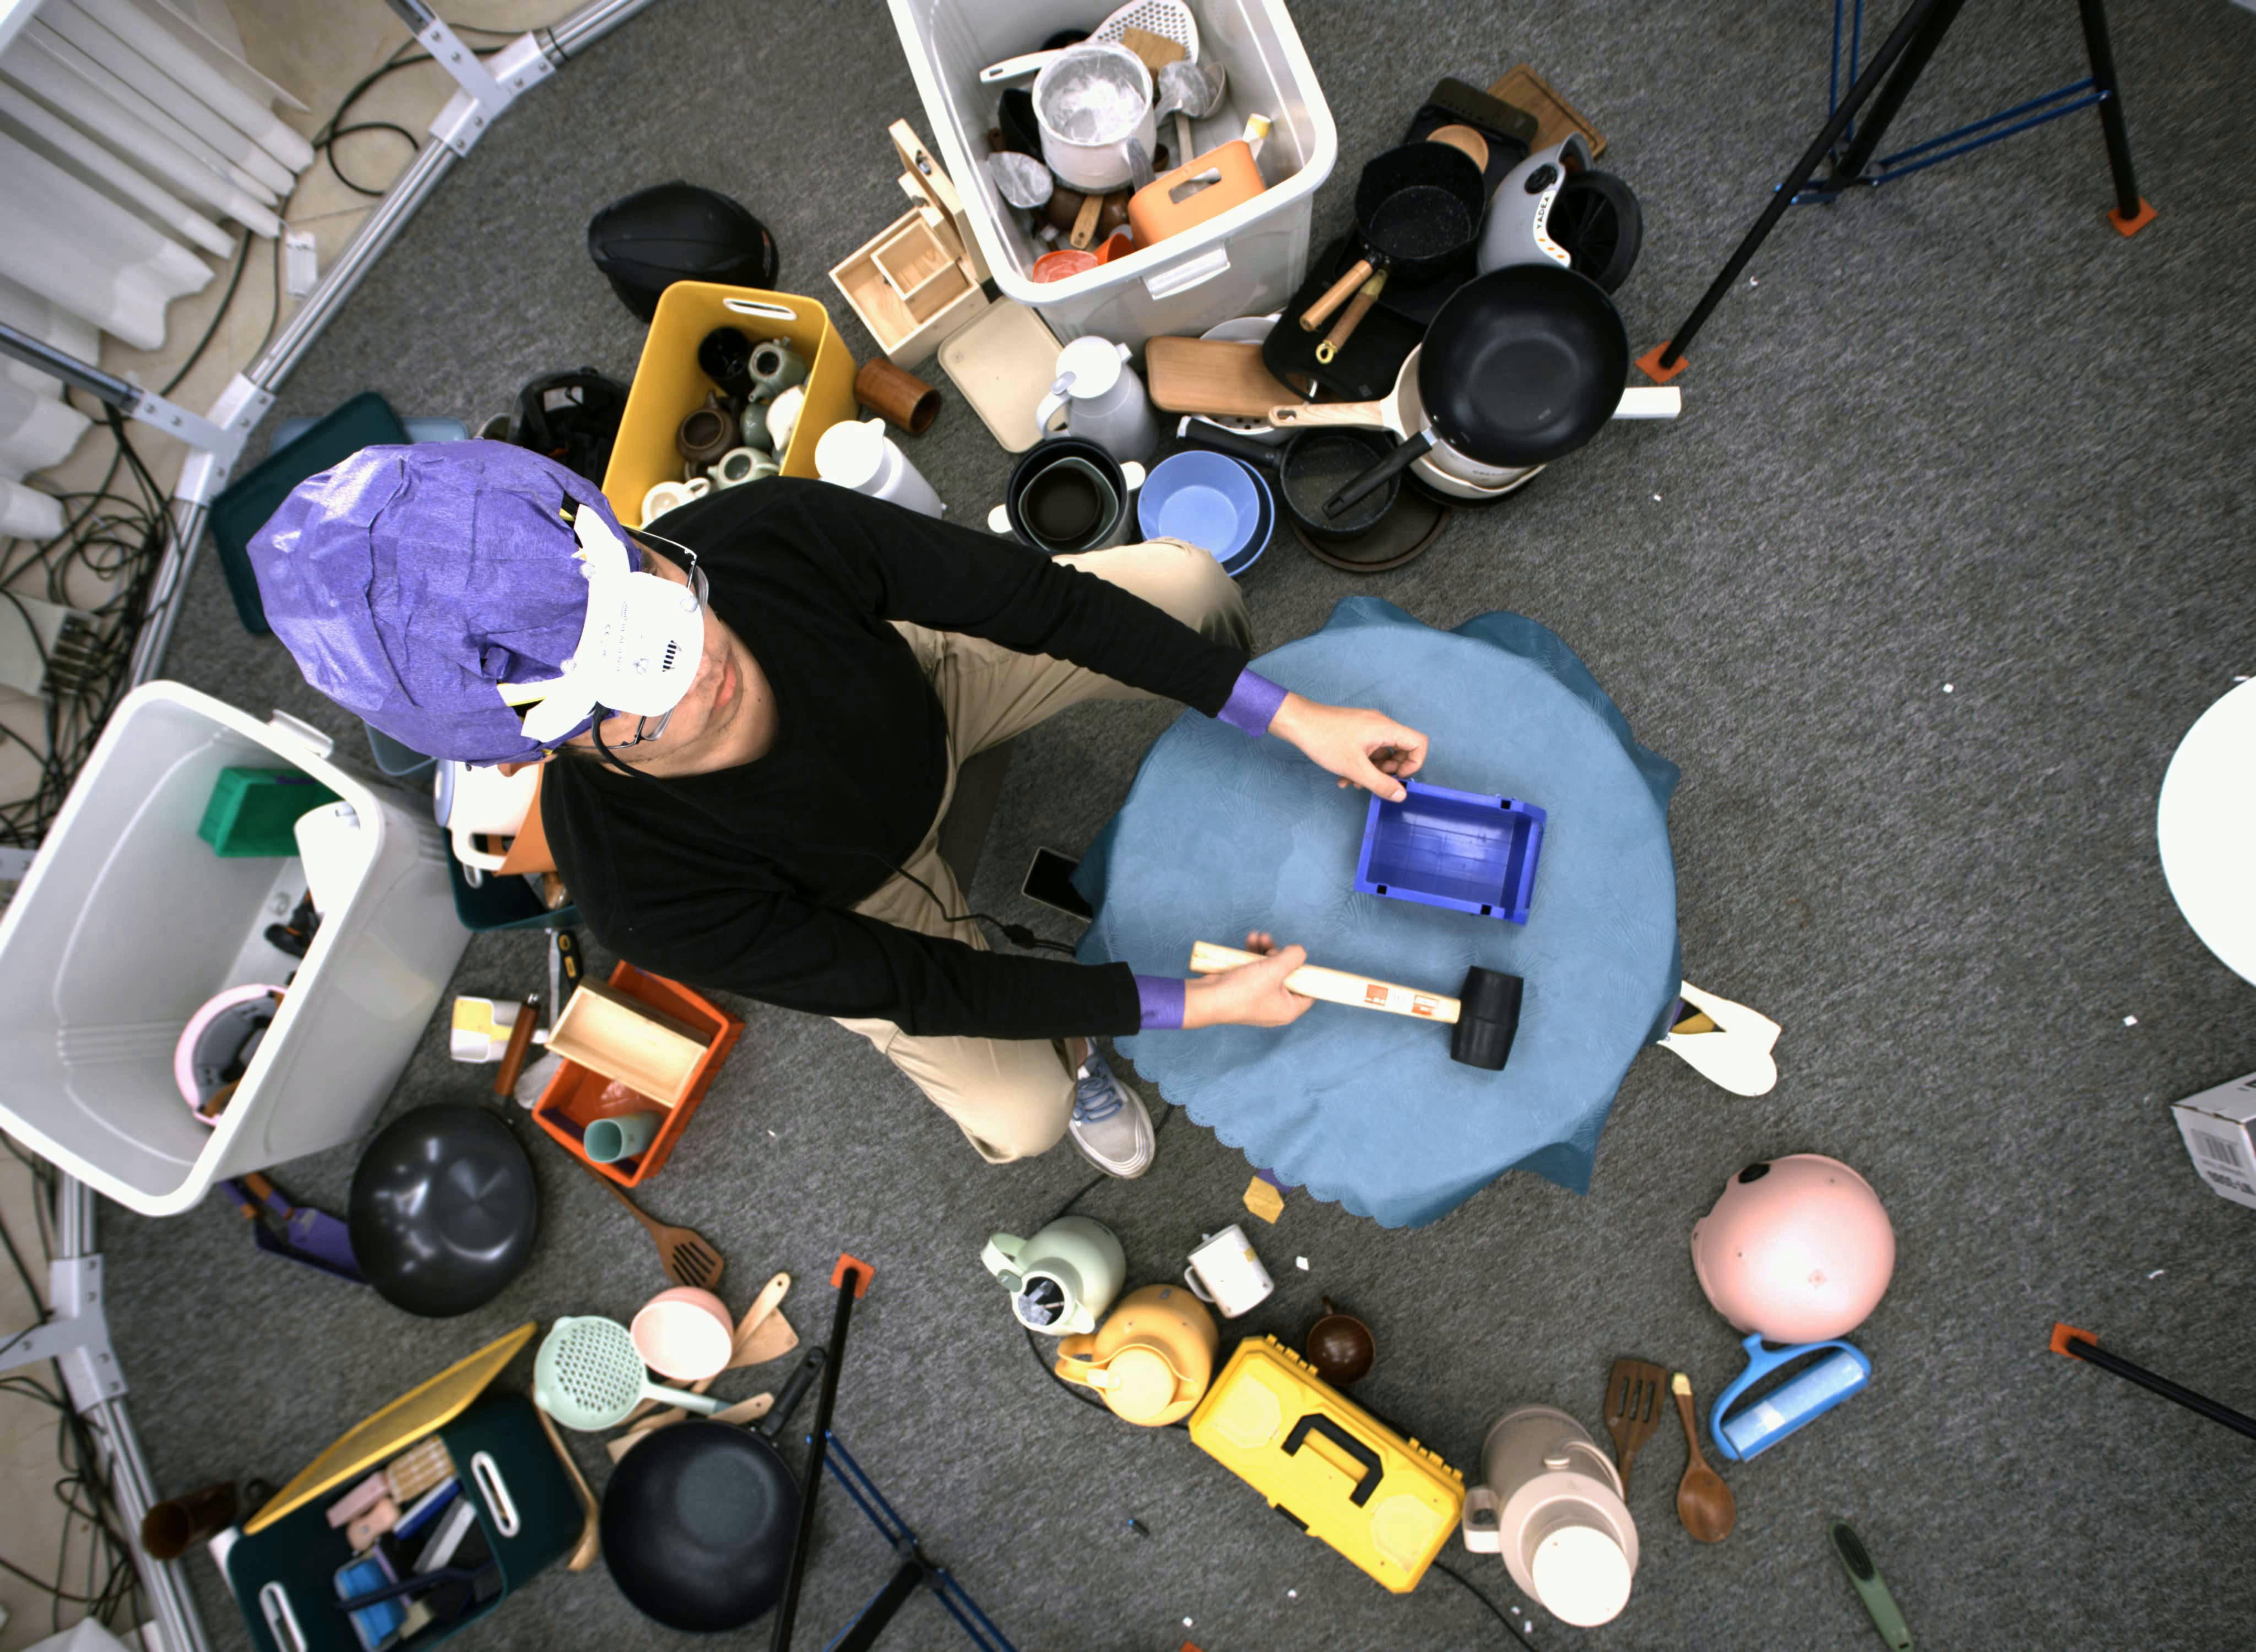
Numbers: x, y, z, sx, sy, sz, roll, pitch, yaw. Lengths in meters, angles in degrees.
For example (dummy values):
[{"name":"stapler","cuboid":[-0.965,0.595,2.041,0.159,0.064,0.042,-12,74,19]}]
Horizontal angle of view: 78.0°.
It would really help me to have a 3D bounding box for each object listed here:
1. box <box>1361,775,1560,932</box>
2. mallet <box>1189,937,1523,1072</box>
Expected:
[{"name":"box","cuboid":[0.342,0.025,1.408,0.180,0.082,0.124,12,89,15]},{"name":"mallet","cuboid":[0.230,0.164,1.401,0.339,0.064,0.101,13,89,-2]}]
